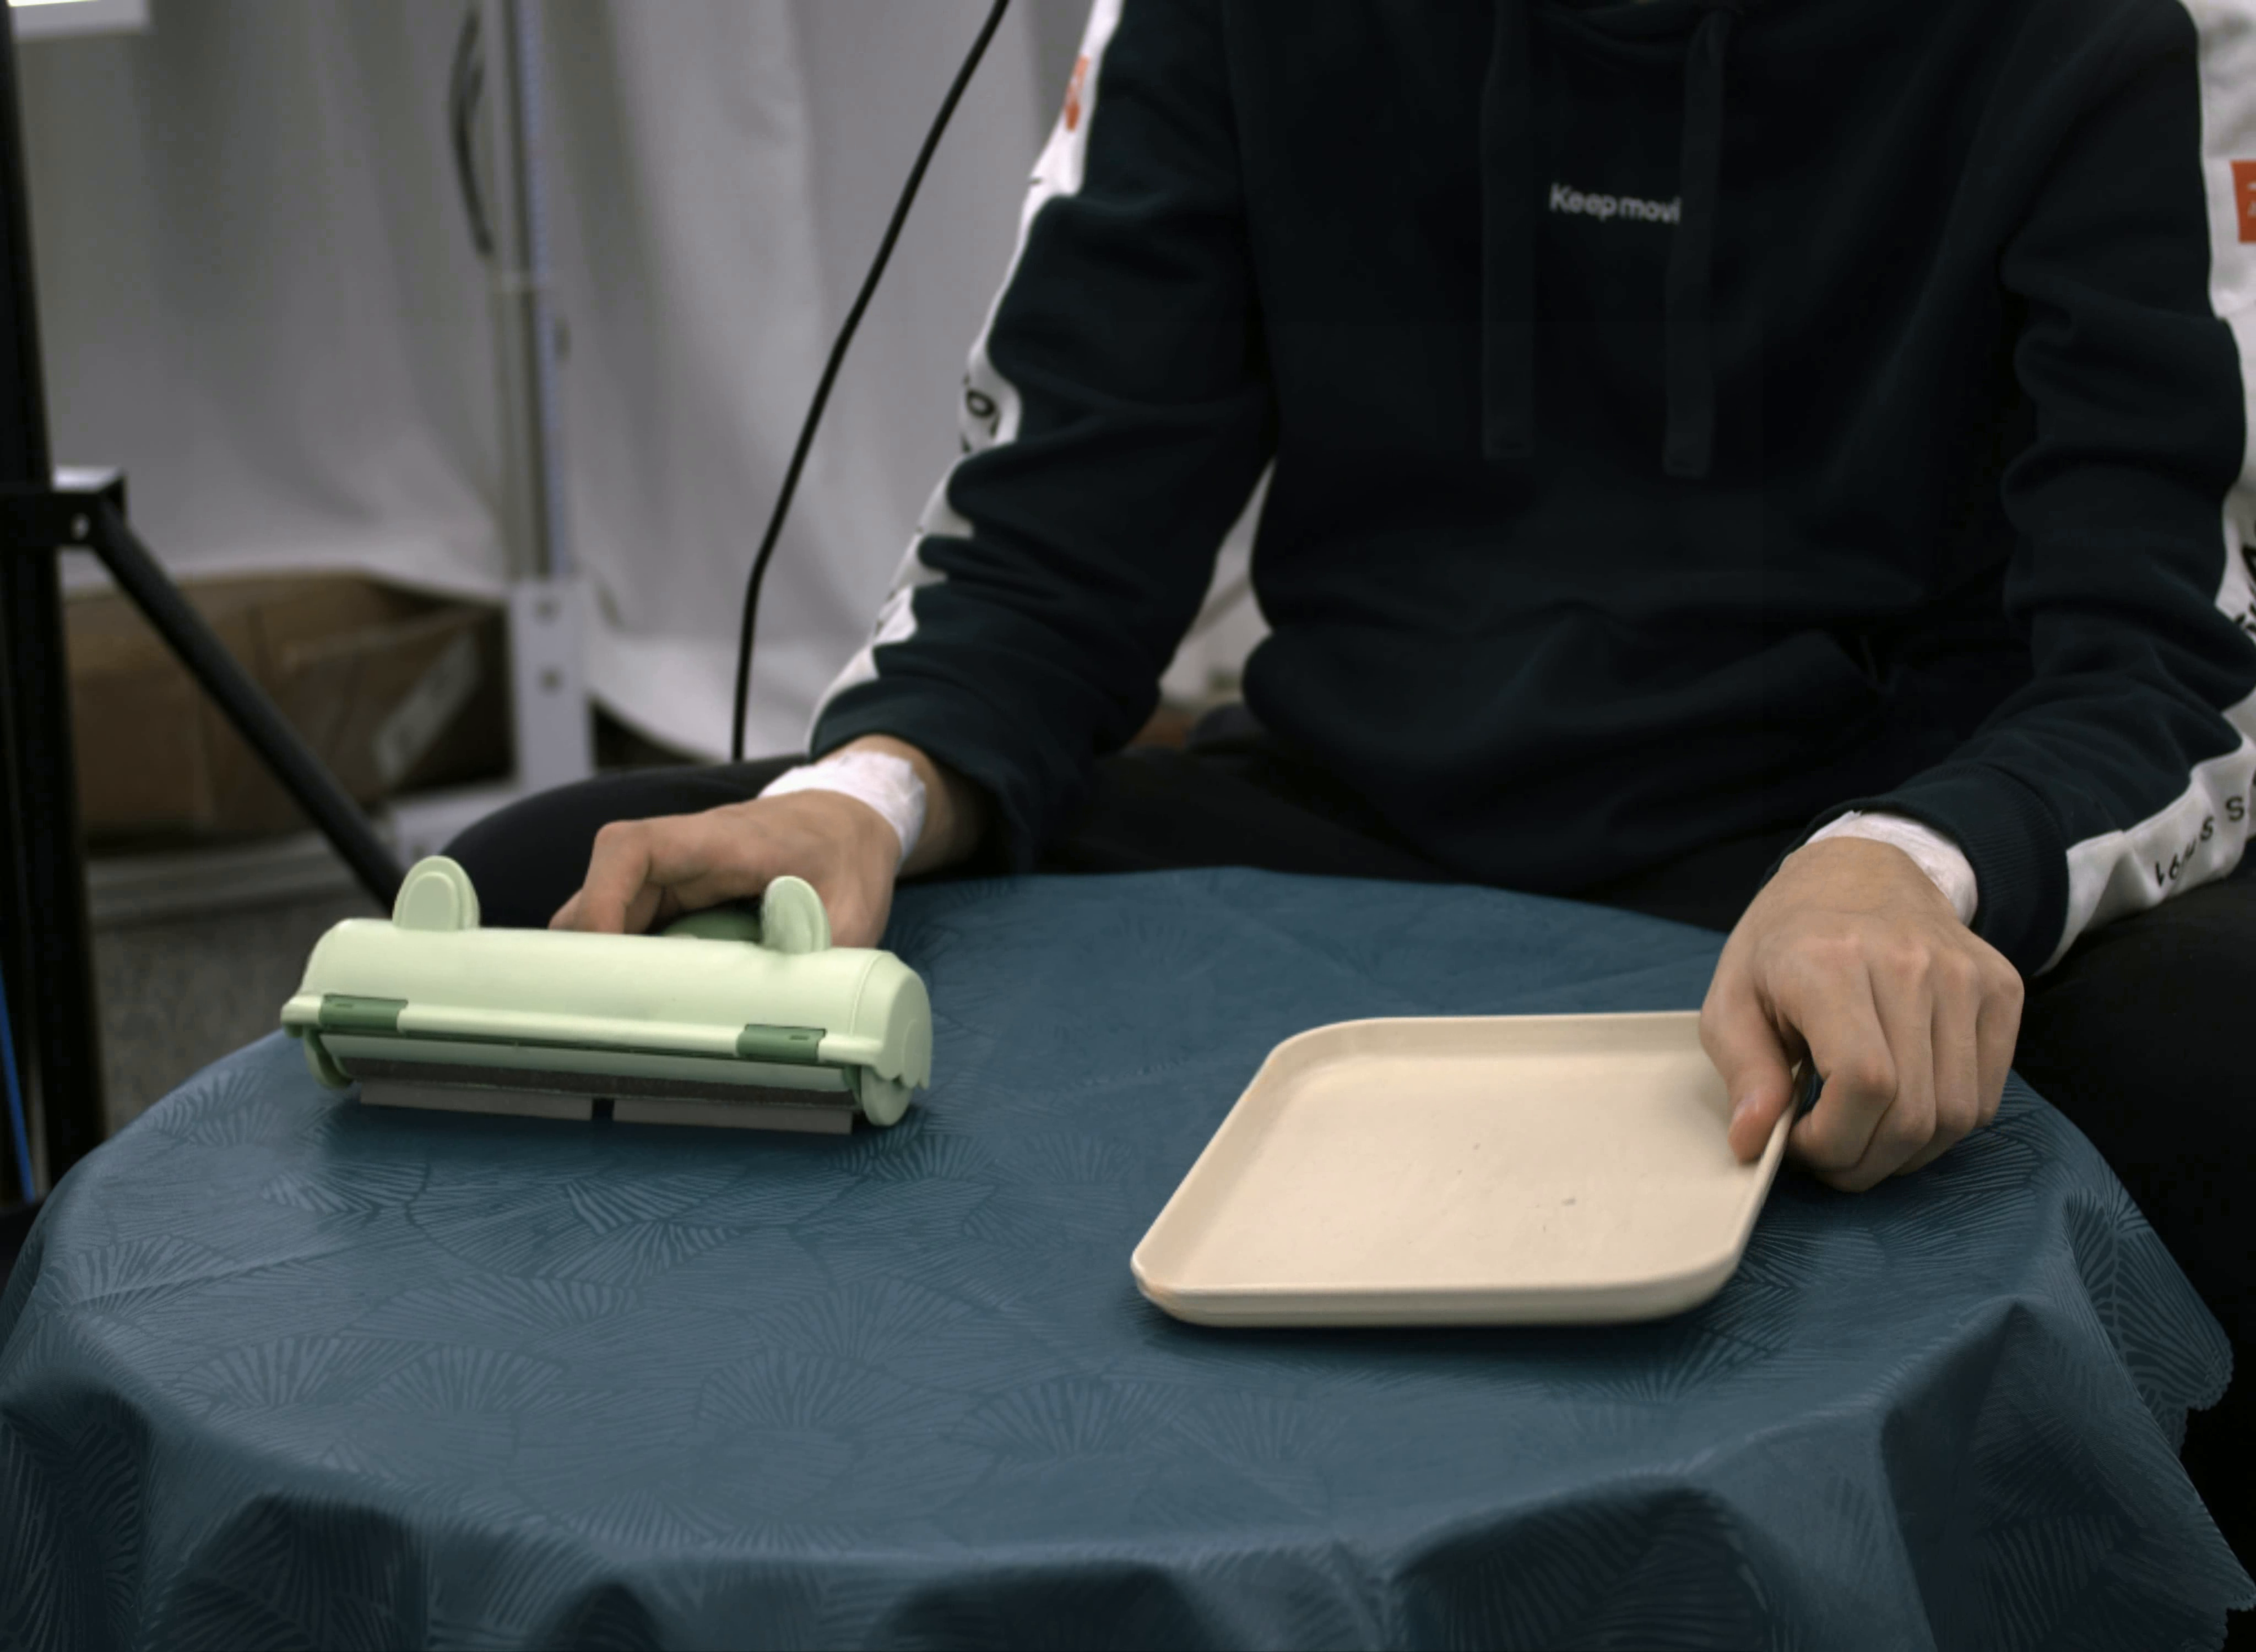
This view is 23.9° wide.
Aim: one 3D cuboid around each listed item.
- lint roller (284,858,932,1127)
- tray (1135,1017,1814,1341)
[{"bbox_3d":[-0.145,0.035,1.696,0.200,0.082,0.182,2,21,17],"label":"lint roller"},{"bbox_3d":[0.104,0.100,1.523,0.172,0.017,0.238,0,16,15],"label":"tray"}]
